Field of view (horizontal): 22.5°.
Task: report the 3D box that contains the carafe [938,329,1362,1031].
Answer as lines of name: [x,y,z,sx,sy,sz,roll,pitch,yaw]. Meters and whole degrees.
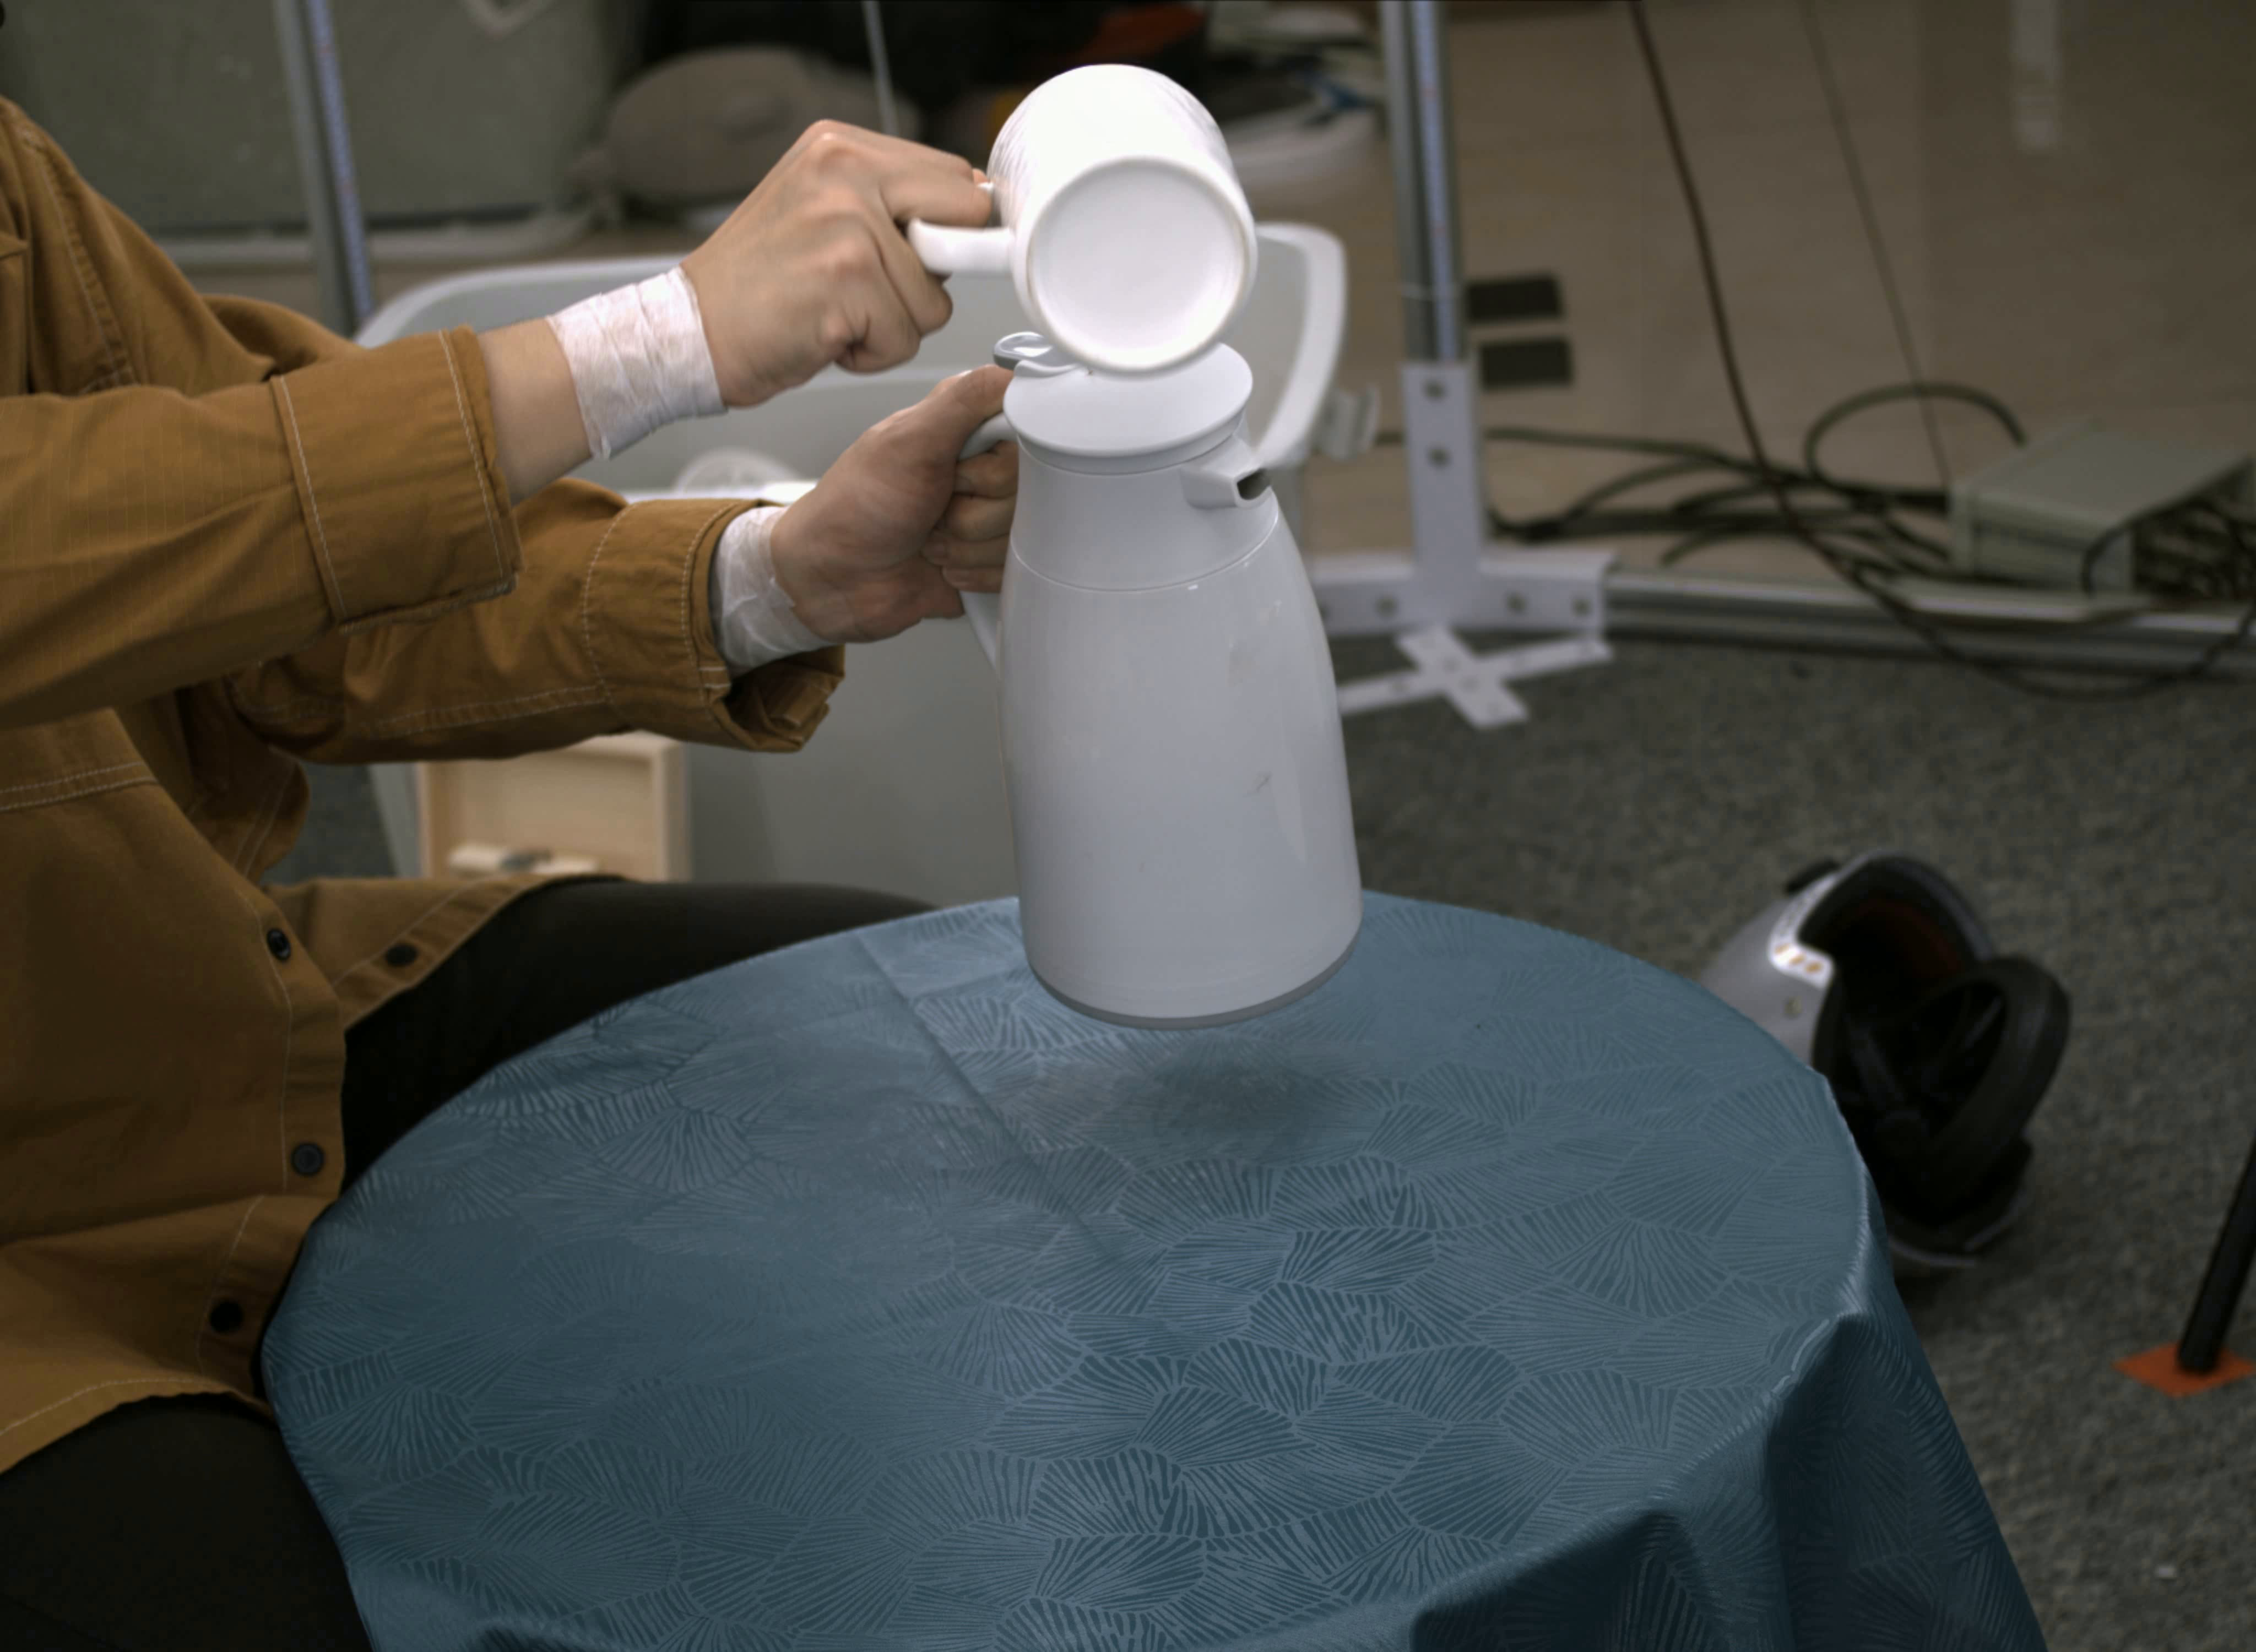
carafe: [-0.003,-0.066,2.123,0.166,0.253,0.131,24,46,38]

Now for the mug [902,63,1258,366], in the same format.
mug: [-0.018,-0.209,1.931,0.118,0.086,0.100,-3,20,-4]
